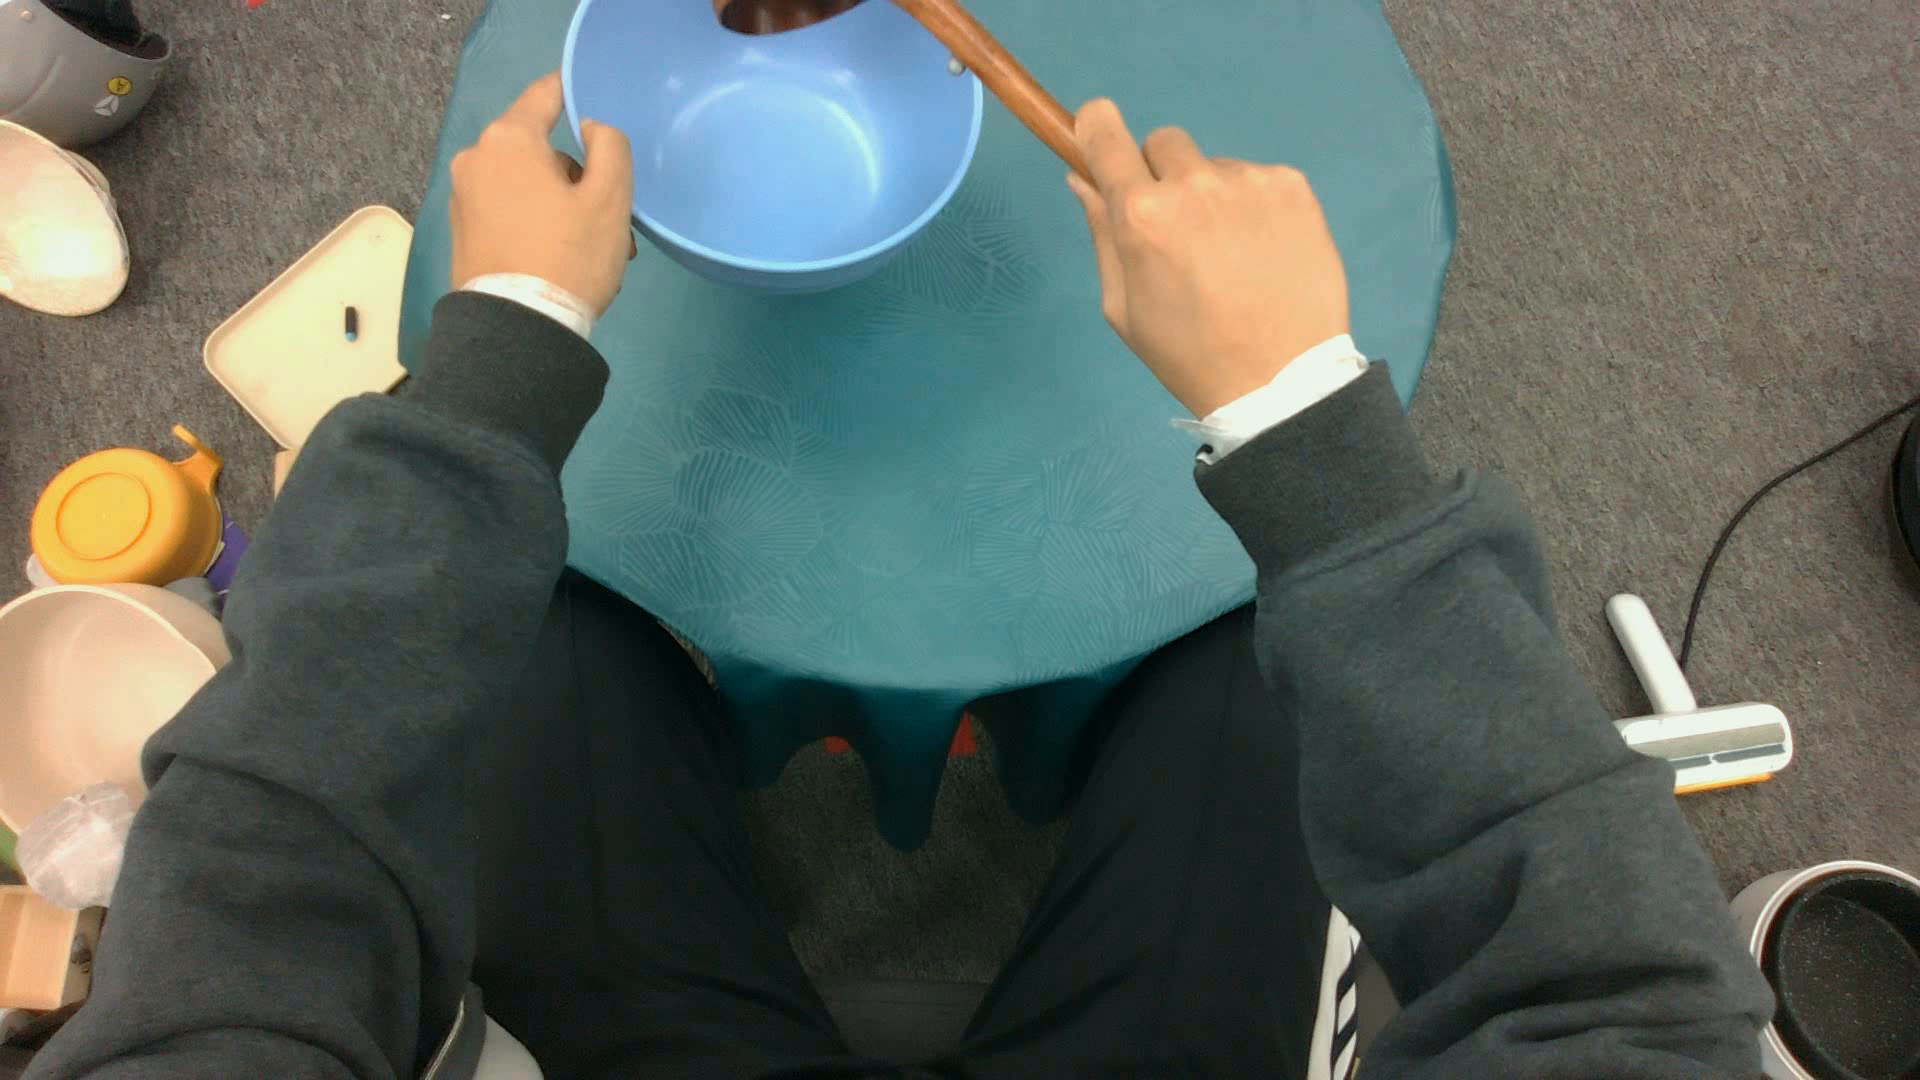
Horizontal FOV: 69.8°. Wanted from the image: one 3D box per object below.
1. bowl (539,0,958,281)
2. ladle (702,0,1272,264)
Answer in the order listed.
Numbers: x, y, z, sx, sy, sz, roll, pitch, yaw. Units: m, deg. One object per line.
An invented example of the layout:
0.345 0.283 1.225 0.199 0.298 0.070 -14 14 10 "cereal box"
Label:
-0.105 -0.210 0.696 0.196 0.095 0.197 3 74 -9 "bowl"
0.000 -0.178 0.563 0.274 0.076 0.082 44 33 12 "ladle"
